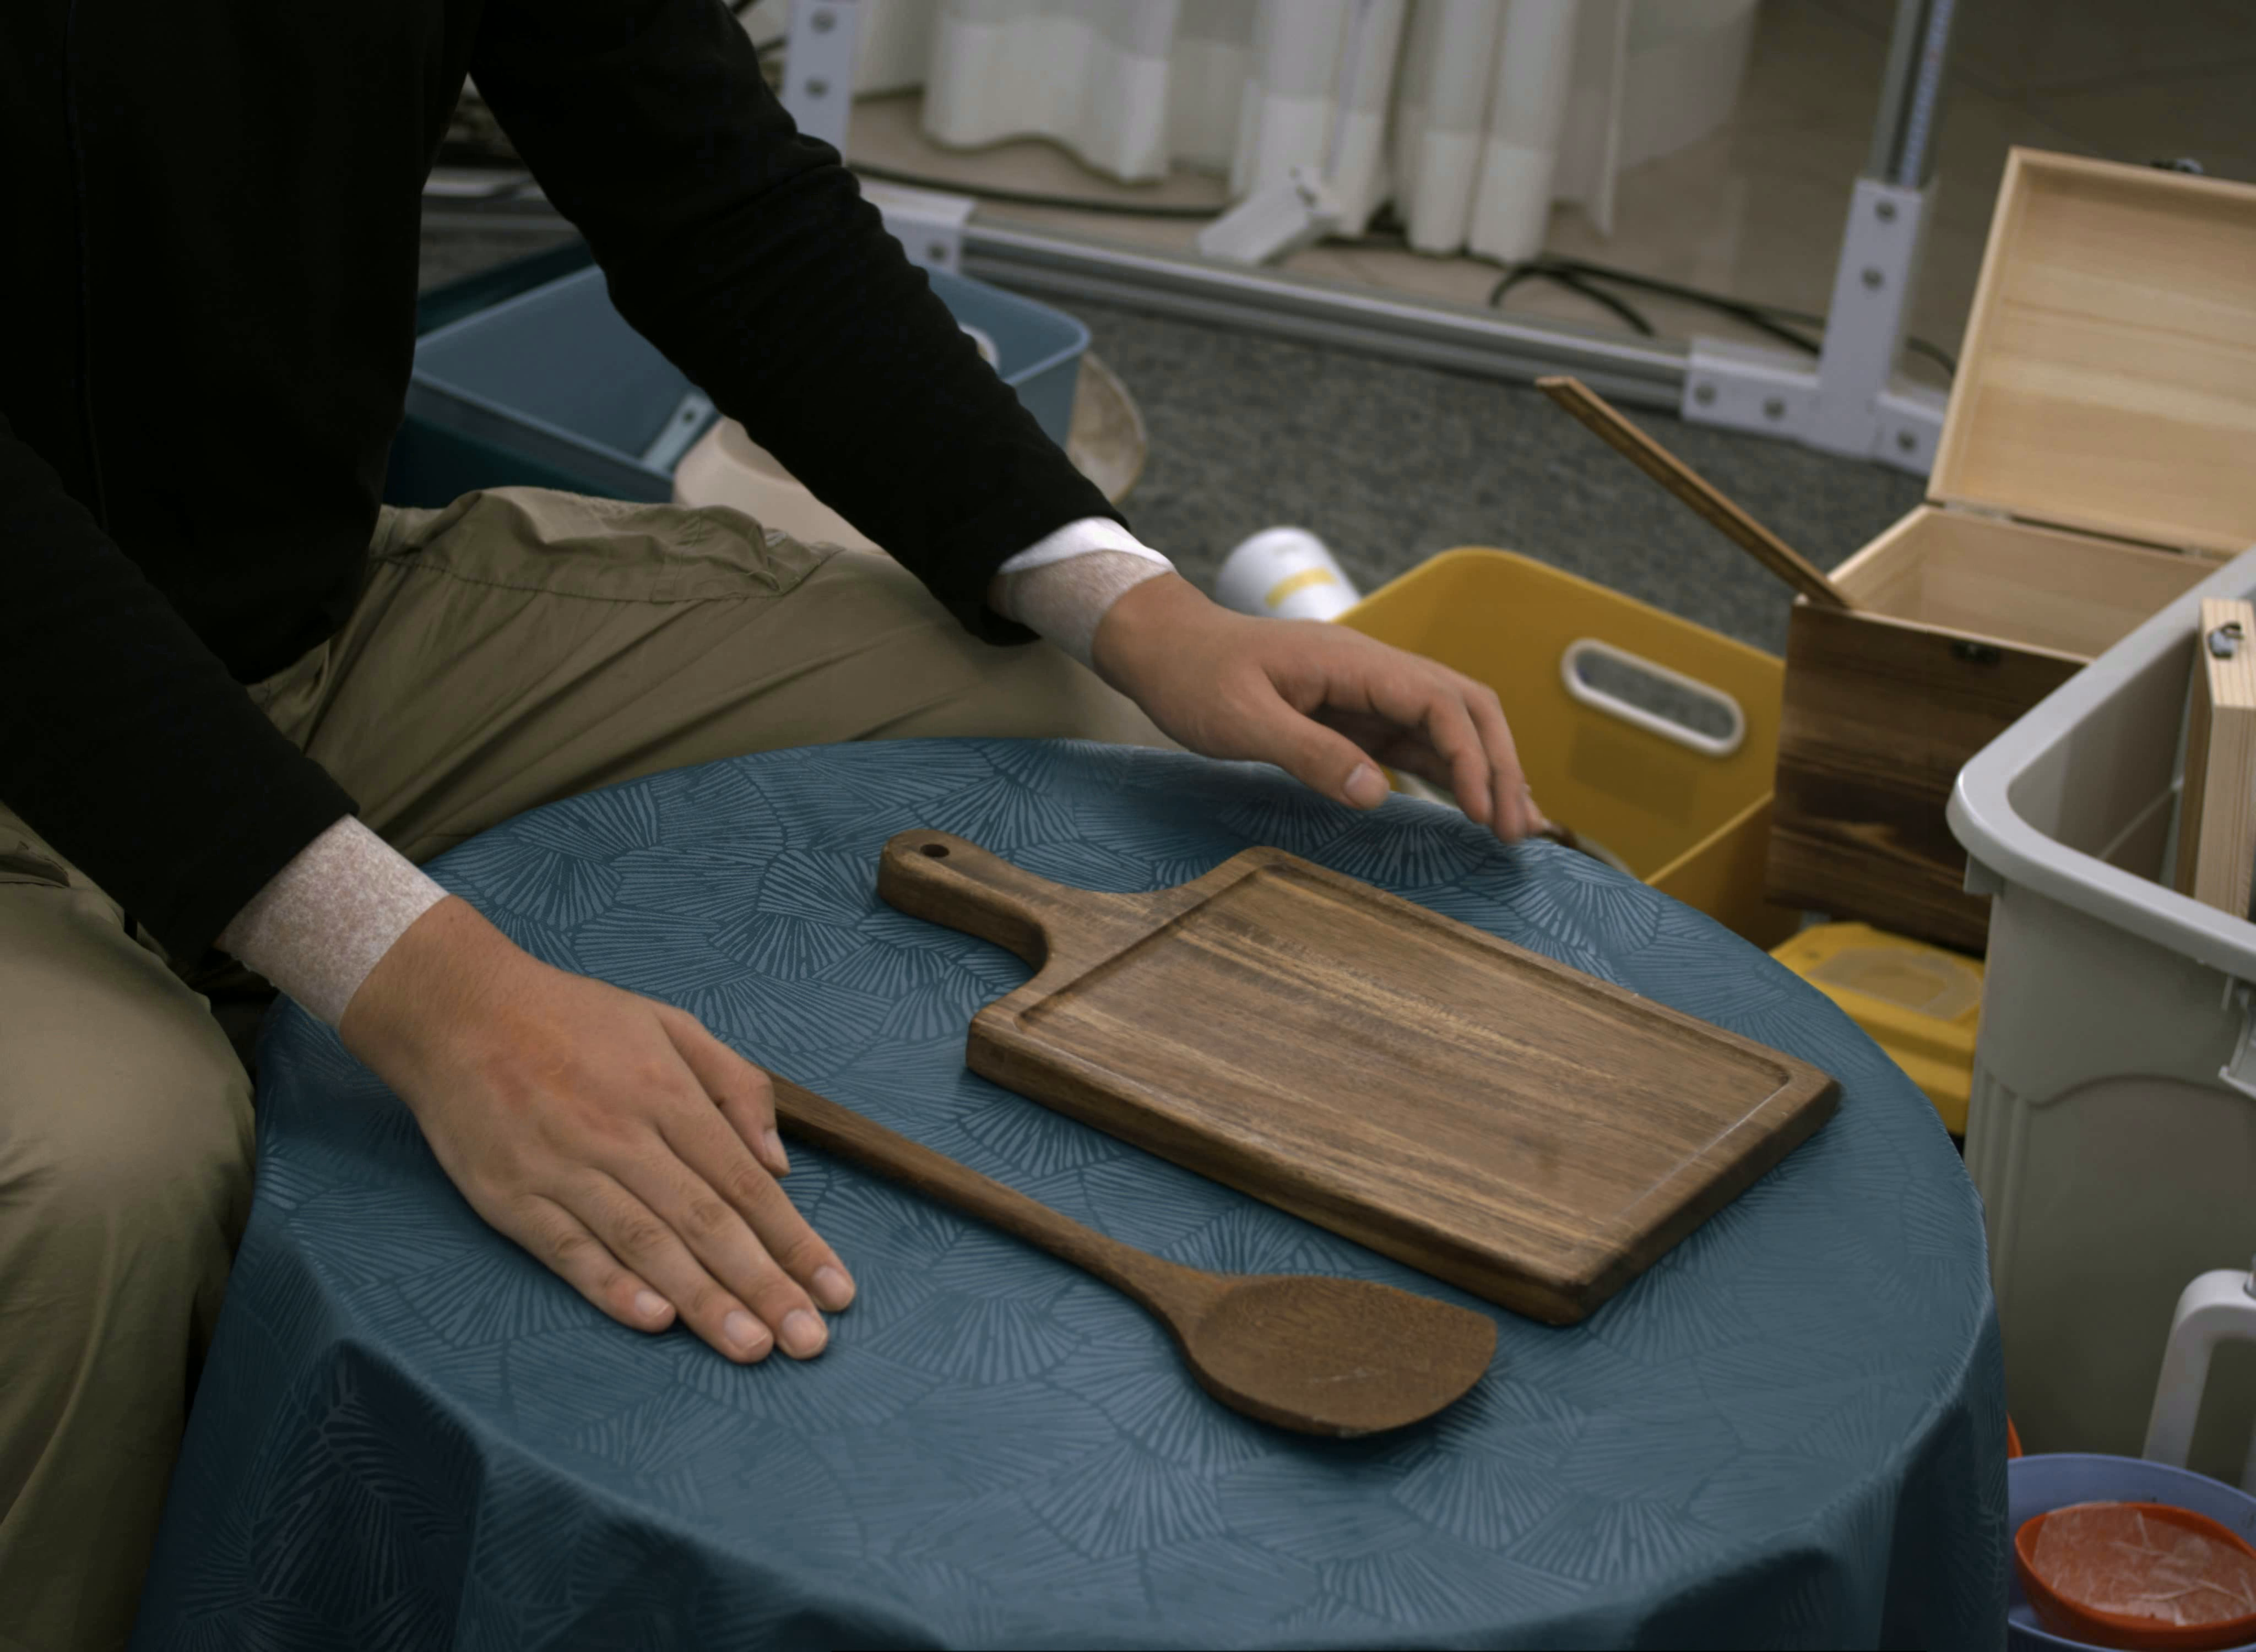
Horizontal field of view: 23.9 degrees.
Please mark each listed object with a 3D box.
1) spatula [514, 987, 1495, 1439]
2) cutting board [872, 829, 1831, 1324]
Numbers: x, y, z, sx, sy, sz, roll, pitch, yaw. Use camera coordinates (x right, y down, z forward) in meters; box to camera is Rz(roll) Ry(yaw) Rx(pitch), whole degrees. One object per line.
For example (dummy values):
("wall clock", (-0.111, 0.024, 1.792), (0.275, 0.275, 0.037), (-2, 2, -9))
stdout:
("spatula", (-0.055, 0.122, 1.777), (0.388, 0.016, 0.096), (22, 30, 28))
("cutting board", (0.056, 0.069, 1.898), (0.354, 0.023, 0.200), (22, 30, 27))
